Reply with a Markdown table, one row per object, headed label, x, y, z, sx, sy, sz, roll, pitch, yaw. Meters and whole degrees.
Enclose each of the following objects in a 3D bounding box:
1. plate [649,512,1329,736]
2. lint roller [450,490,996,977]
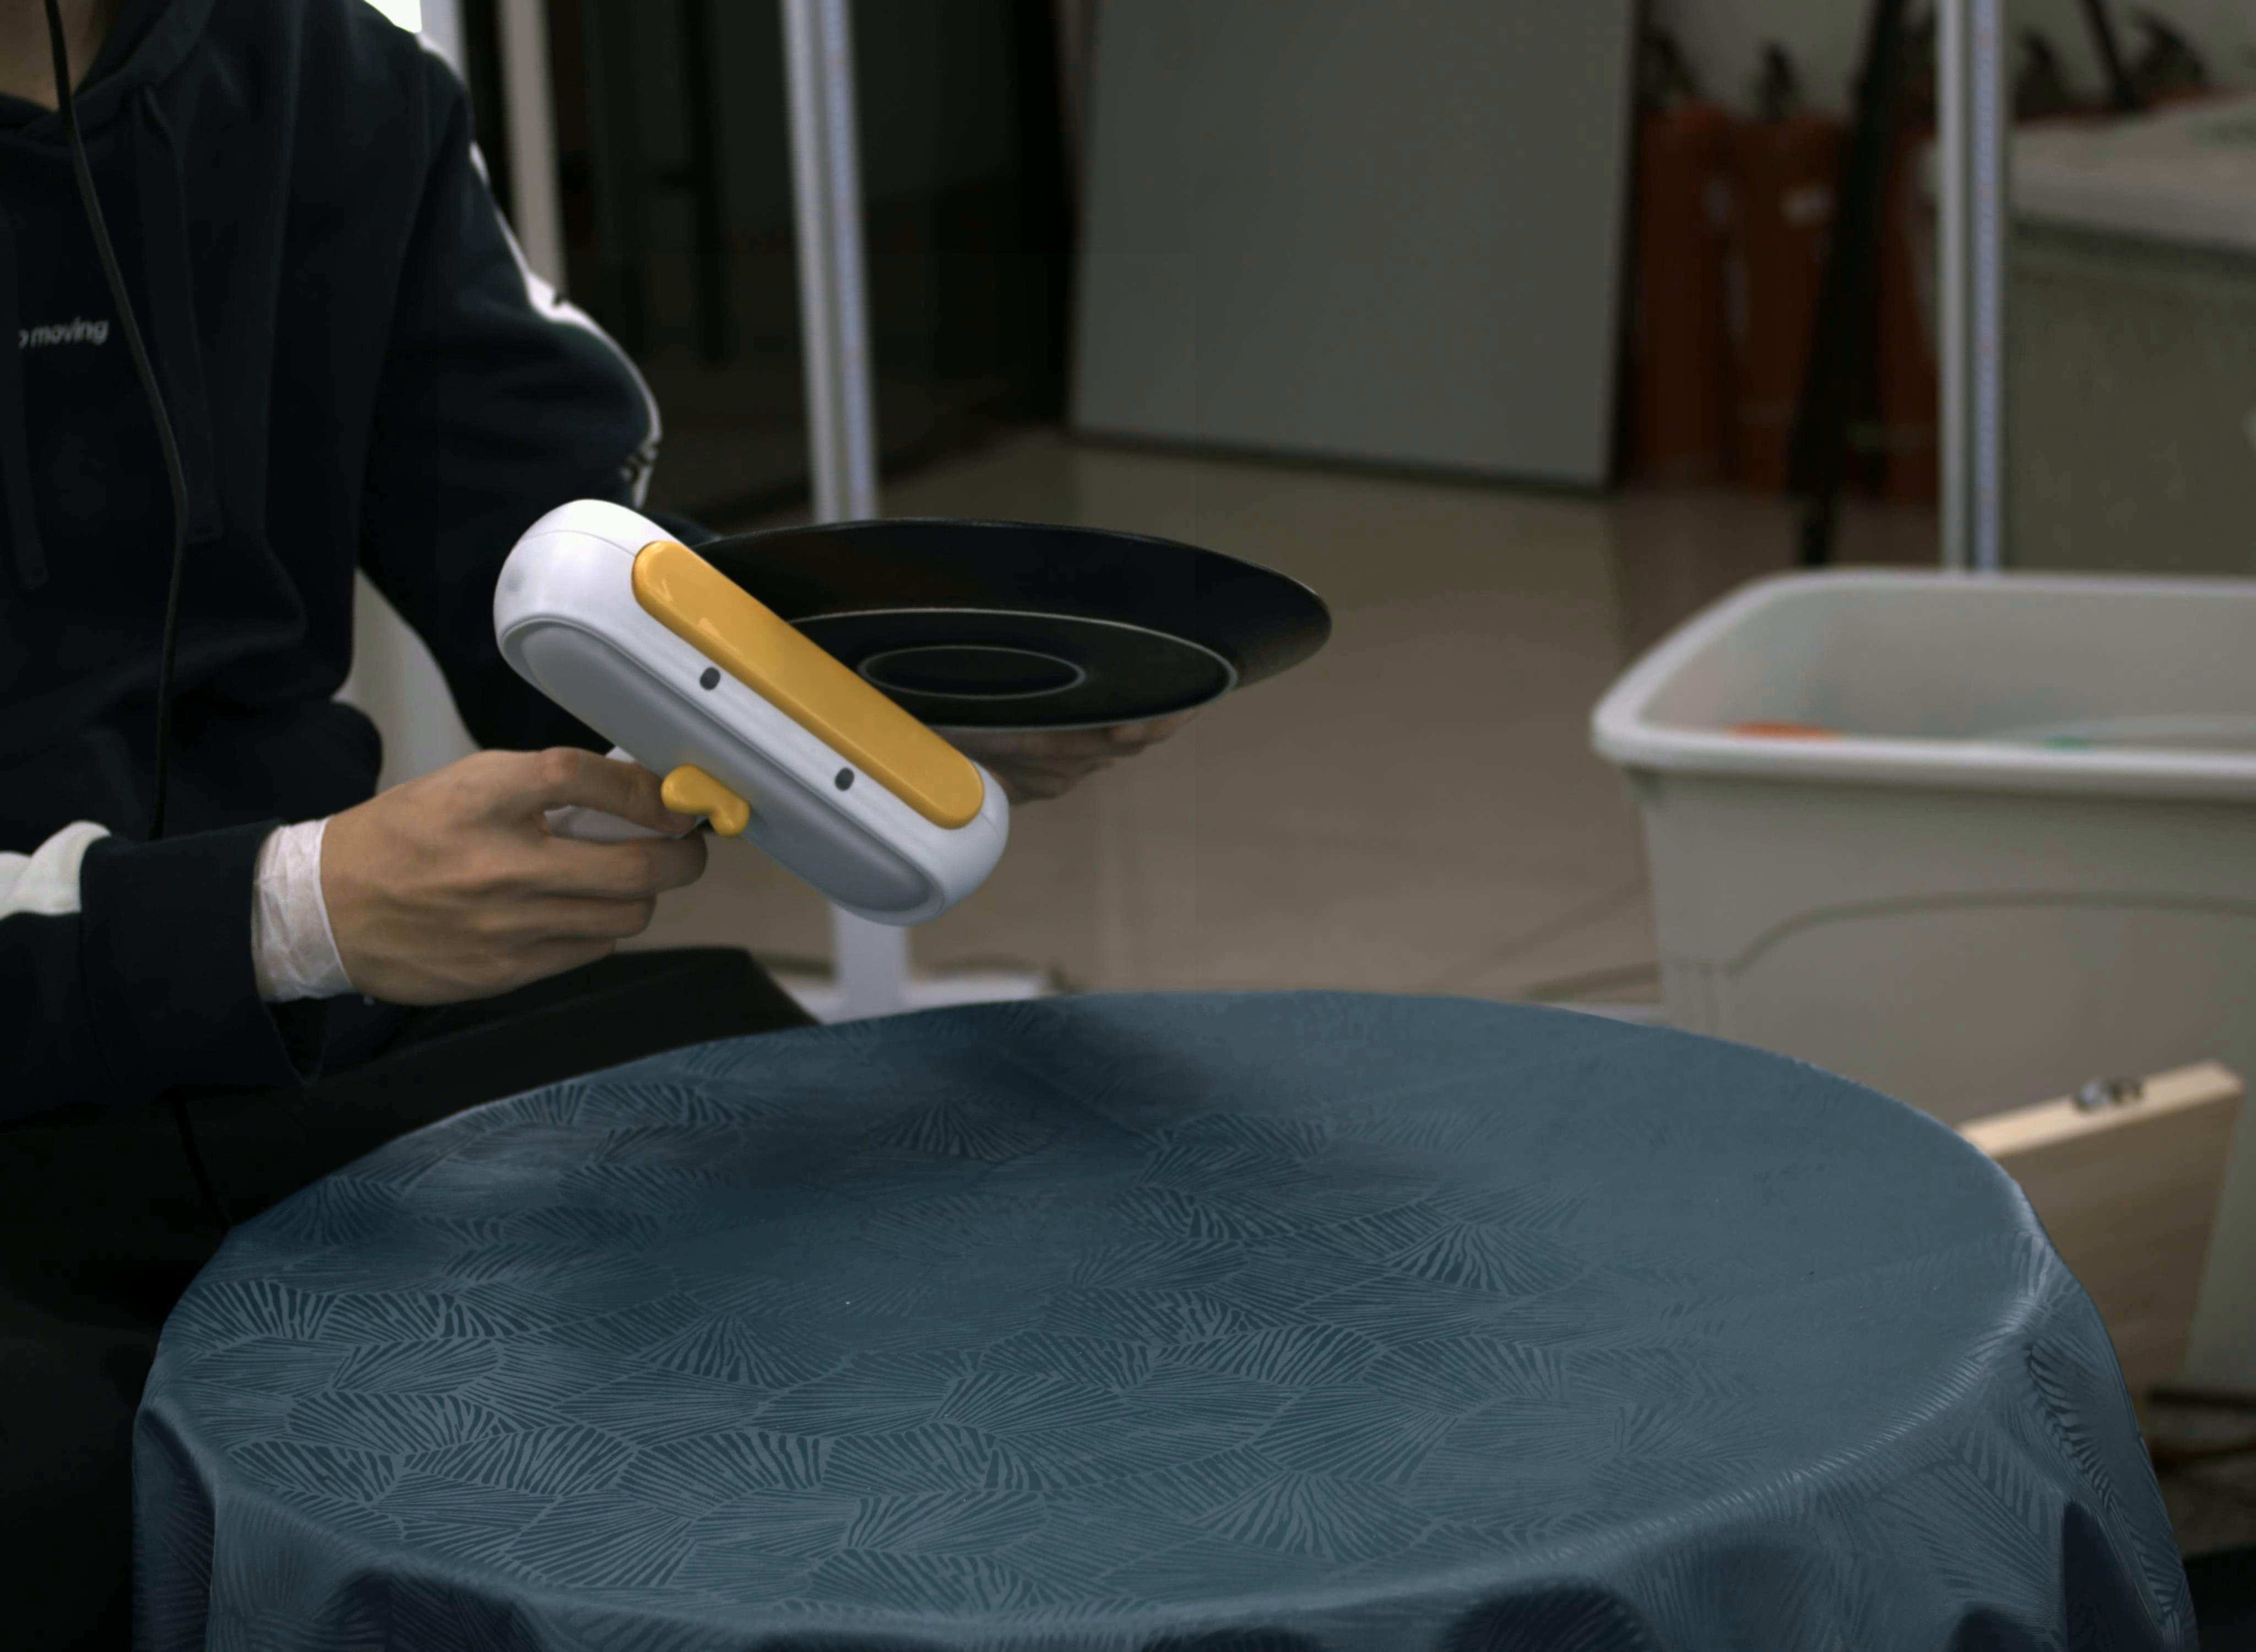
| label | x | y | z | sx | sy | sz | roll | pitch | yaw |
| --- | --- | --- | --- | --- | --- | --- | --- | --- | --- |
| plate | -0.052 | -0.063 | 1.818 | 0.241 | 0.024 | 0.244 | 2 | -13 | -1 |
| lint roller | -0.162 | -0.011 | 1.791 | 0.190 | 0.074 | 0.194 | 31 | -38 | -21 |
